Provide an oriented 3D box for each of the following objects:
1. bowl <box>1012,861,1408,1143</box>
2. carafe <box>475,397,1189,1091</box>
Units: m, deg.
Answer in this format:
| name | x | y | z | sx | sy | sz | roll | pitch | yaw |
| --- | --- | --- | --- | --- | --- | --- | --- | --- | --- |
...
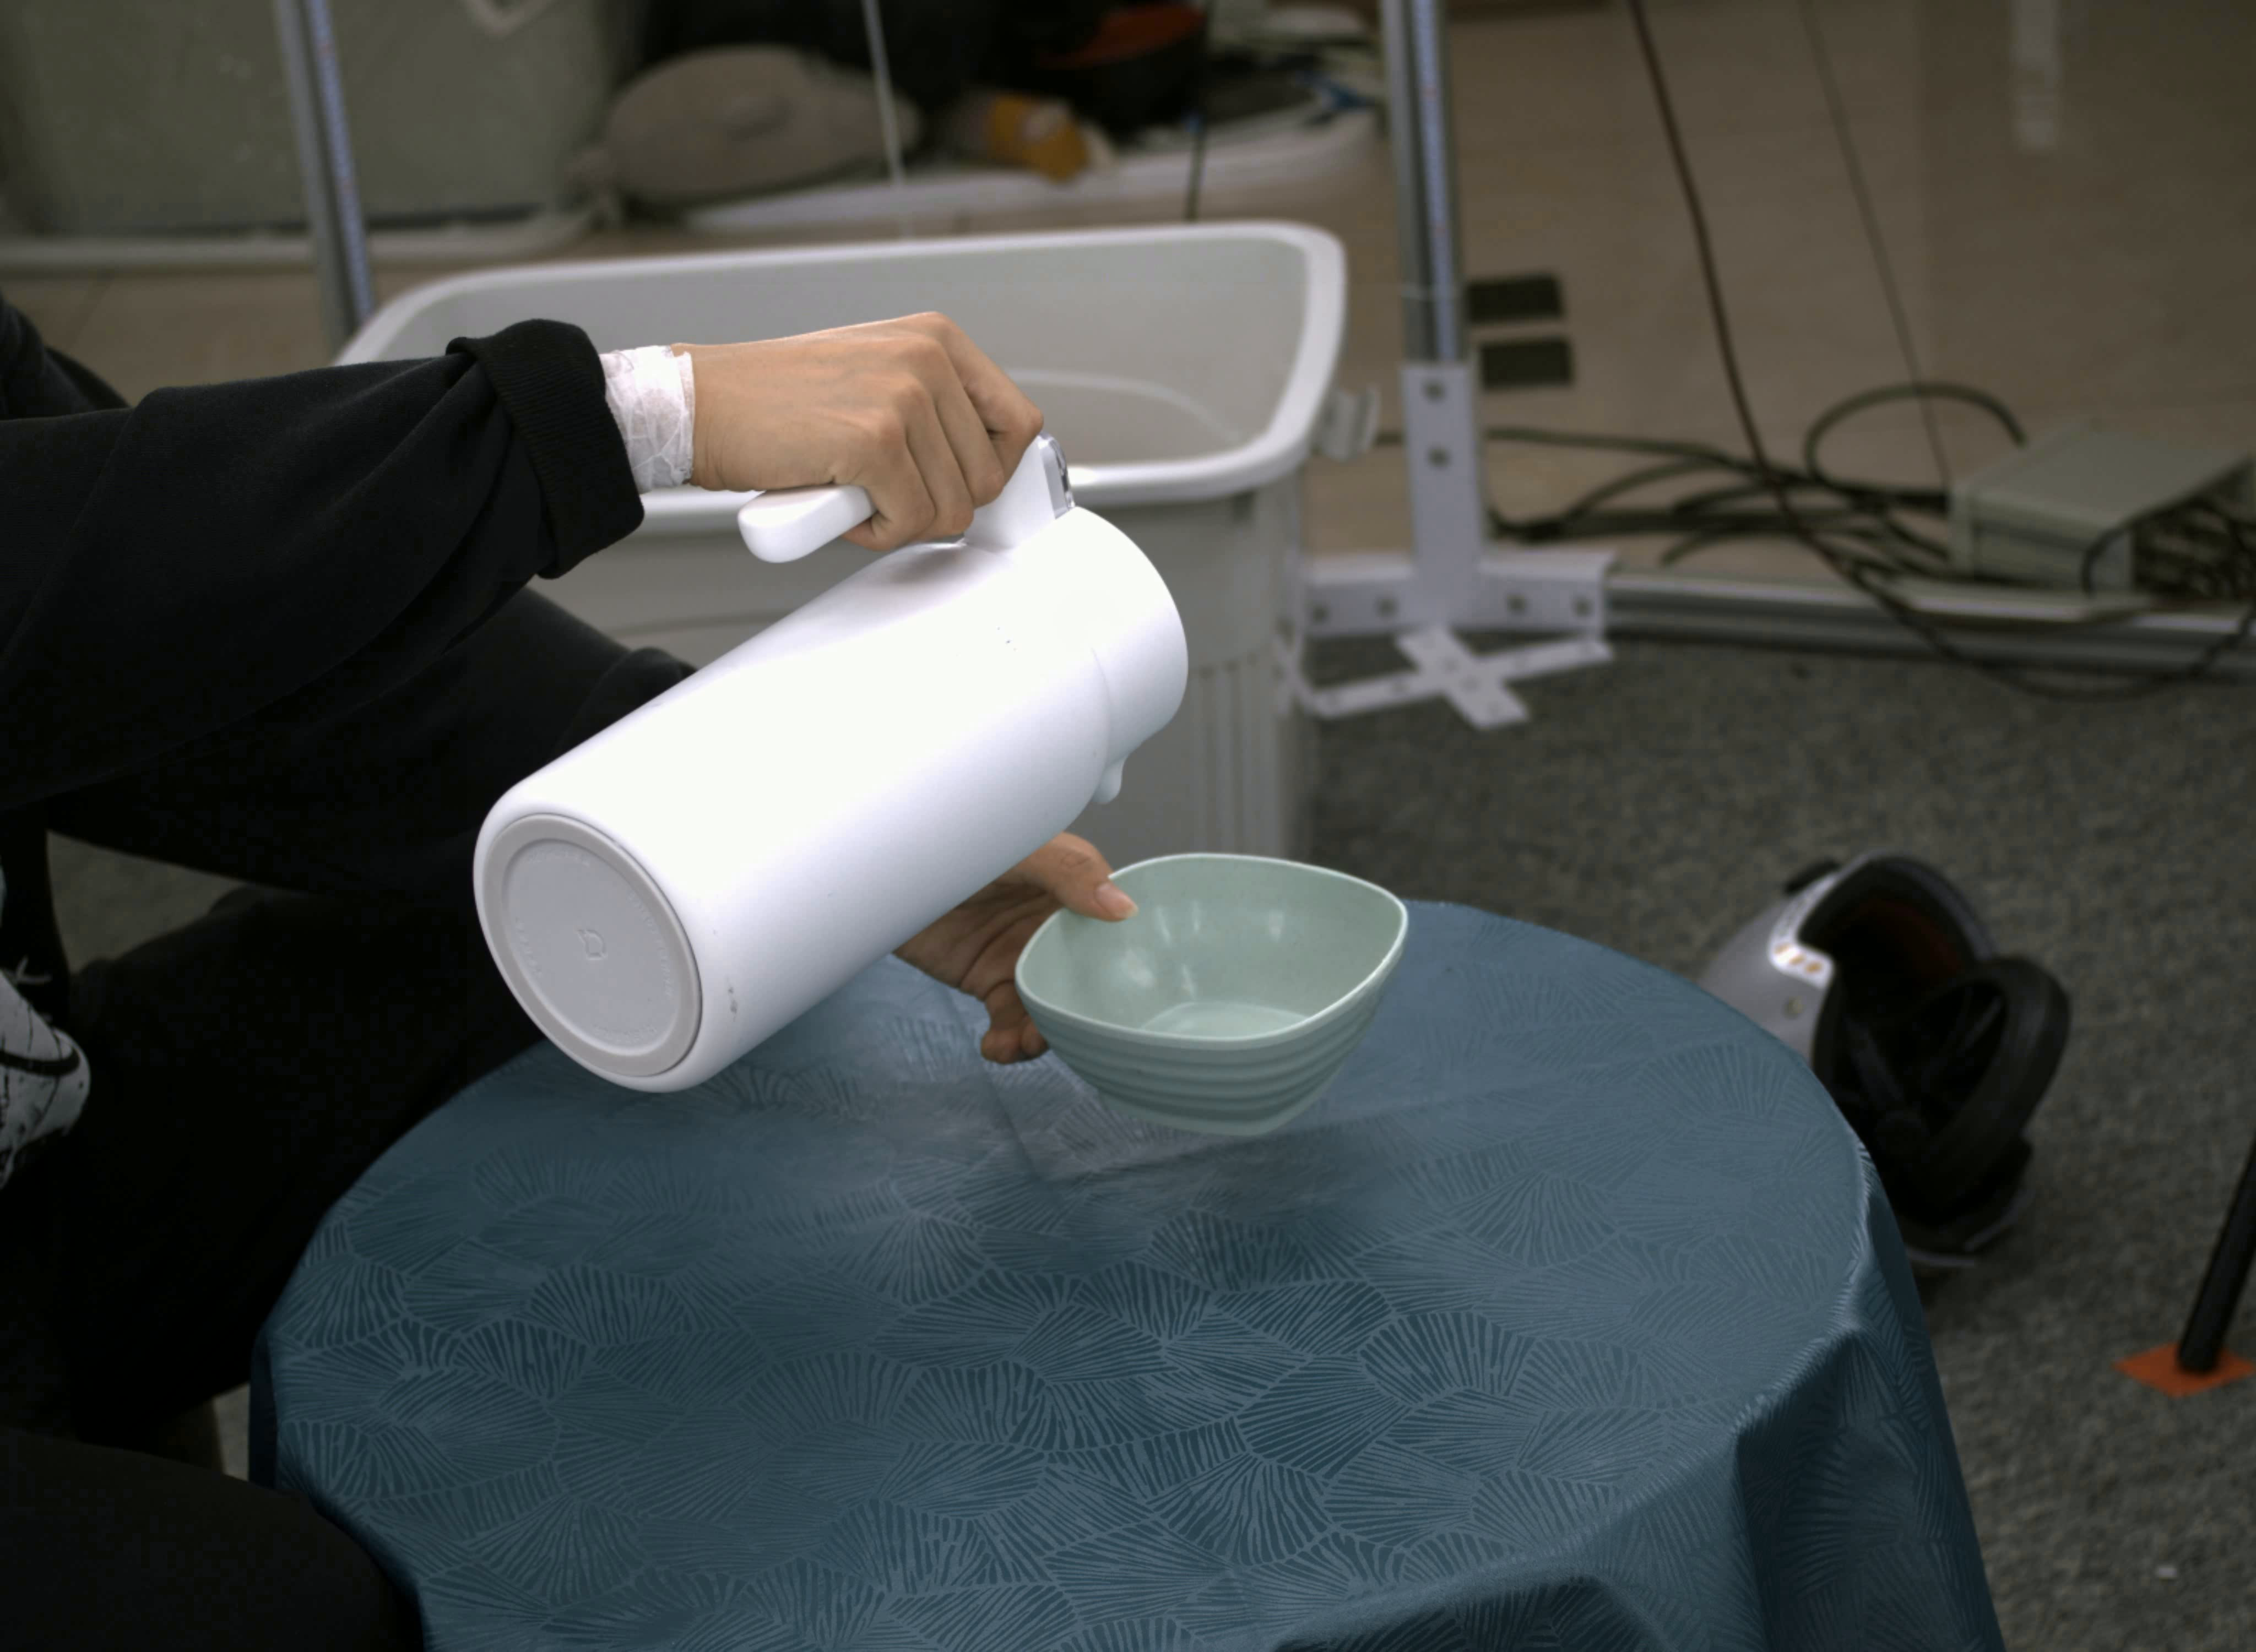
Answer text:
| name | x | y | z | sx | sy | sz | roll | pitch | yaw |
| --- | --- | --- | --- | --- | --- | --- | --- | --- | --- |
| bowl | 0.033 | 0.072 | 2.130 | 0.151 | 0.059 | 0.149 | -4 | 27 | 2 |
| carafe | -0.099 | -0.032 | 1.953 | 0.123 | 0.175 | 0.266 | 13 | 34 | 40 |
